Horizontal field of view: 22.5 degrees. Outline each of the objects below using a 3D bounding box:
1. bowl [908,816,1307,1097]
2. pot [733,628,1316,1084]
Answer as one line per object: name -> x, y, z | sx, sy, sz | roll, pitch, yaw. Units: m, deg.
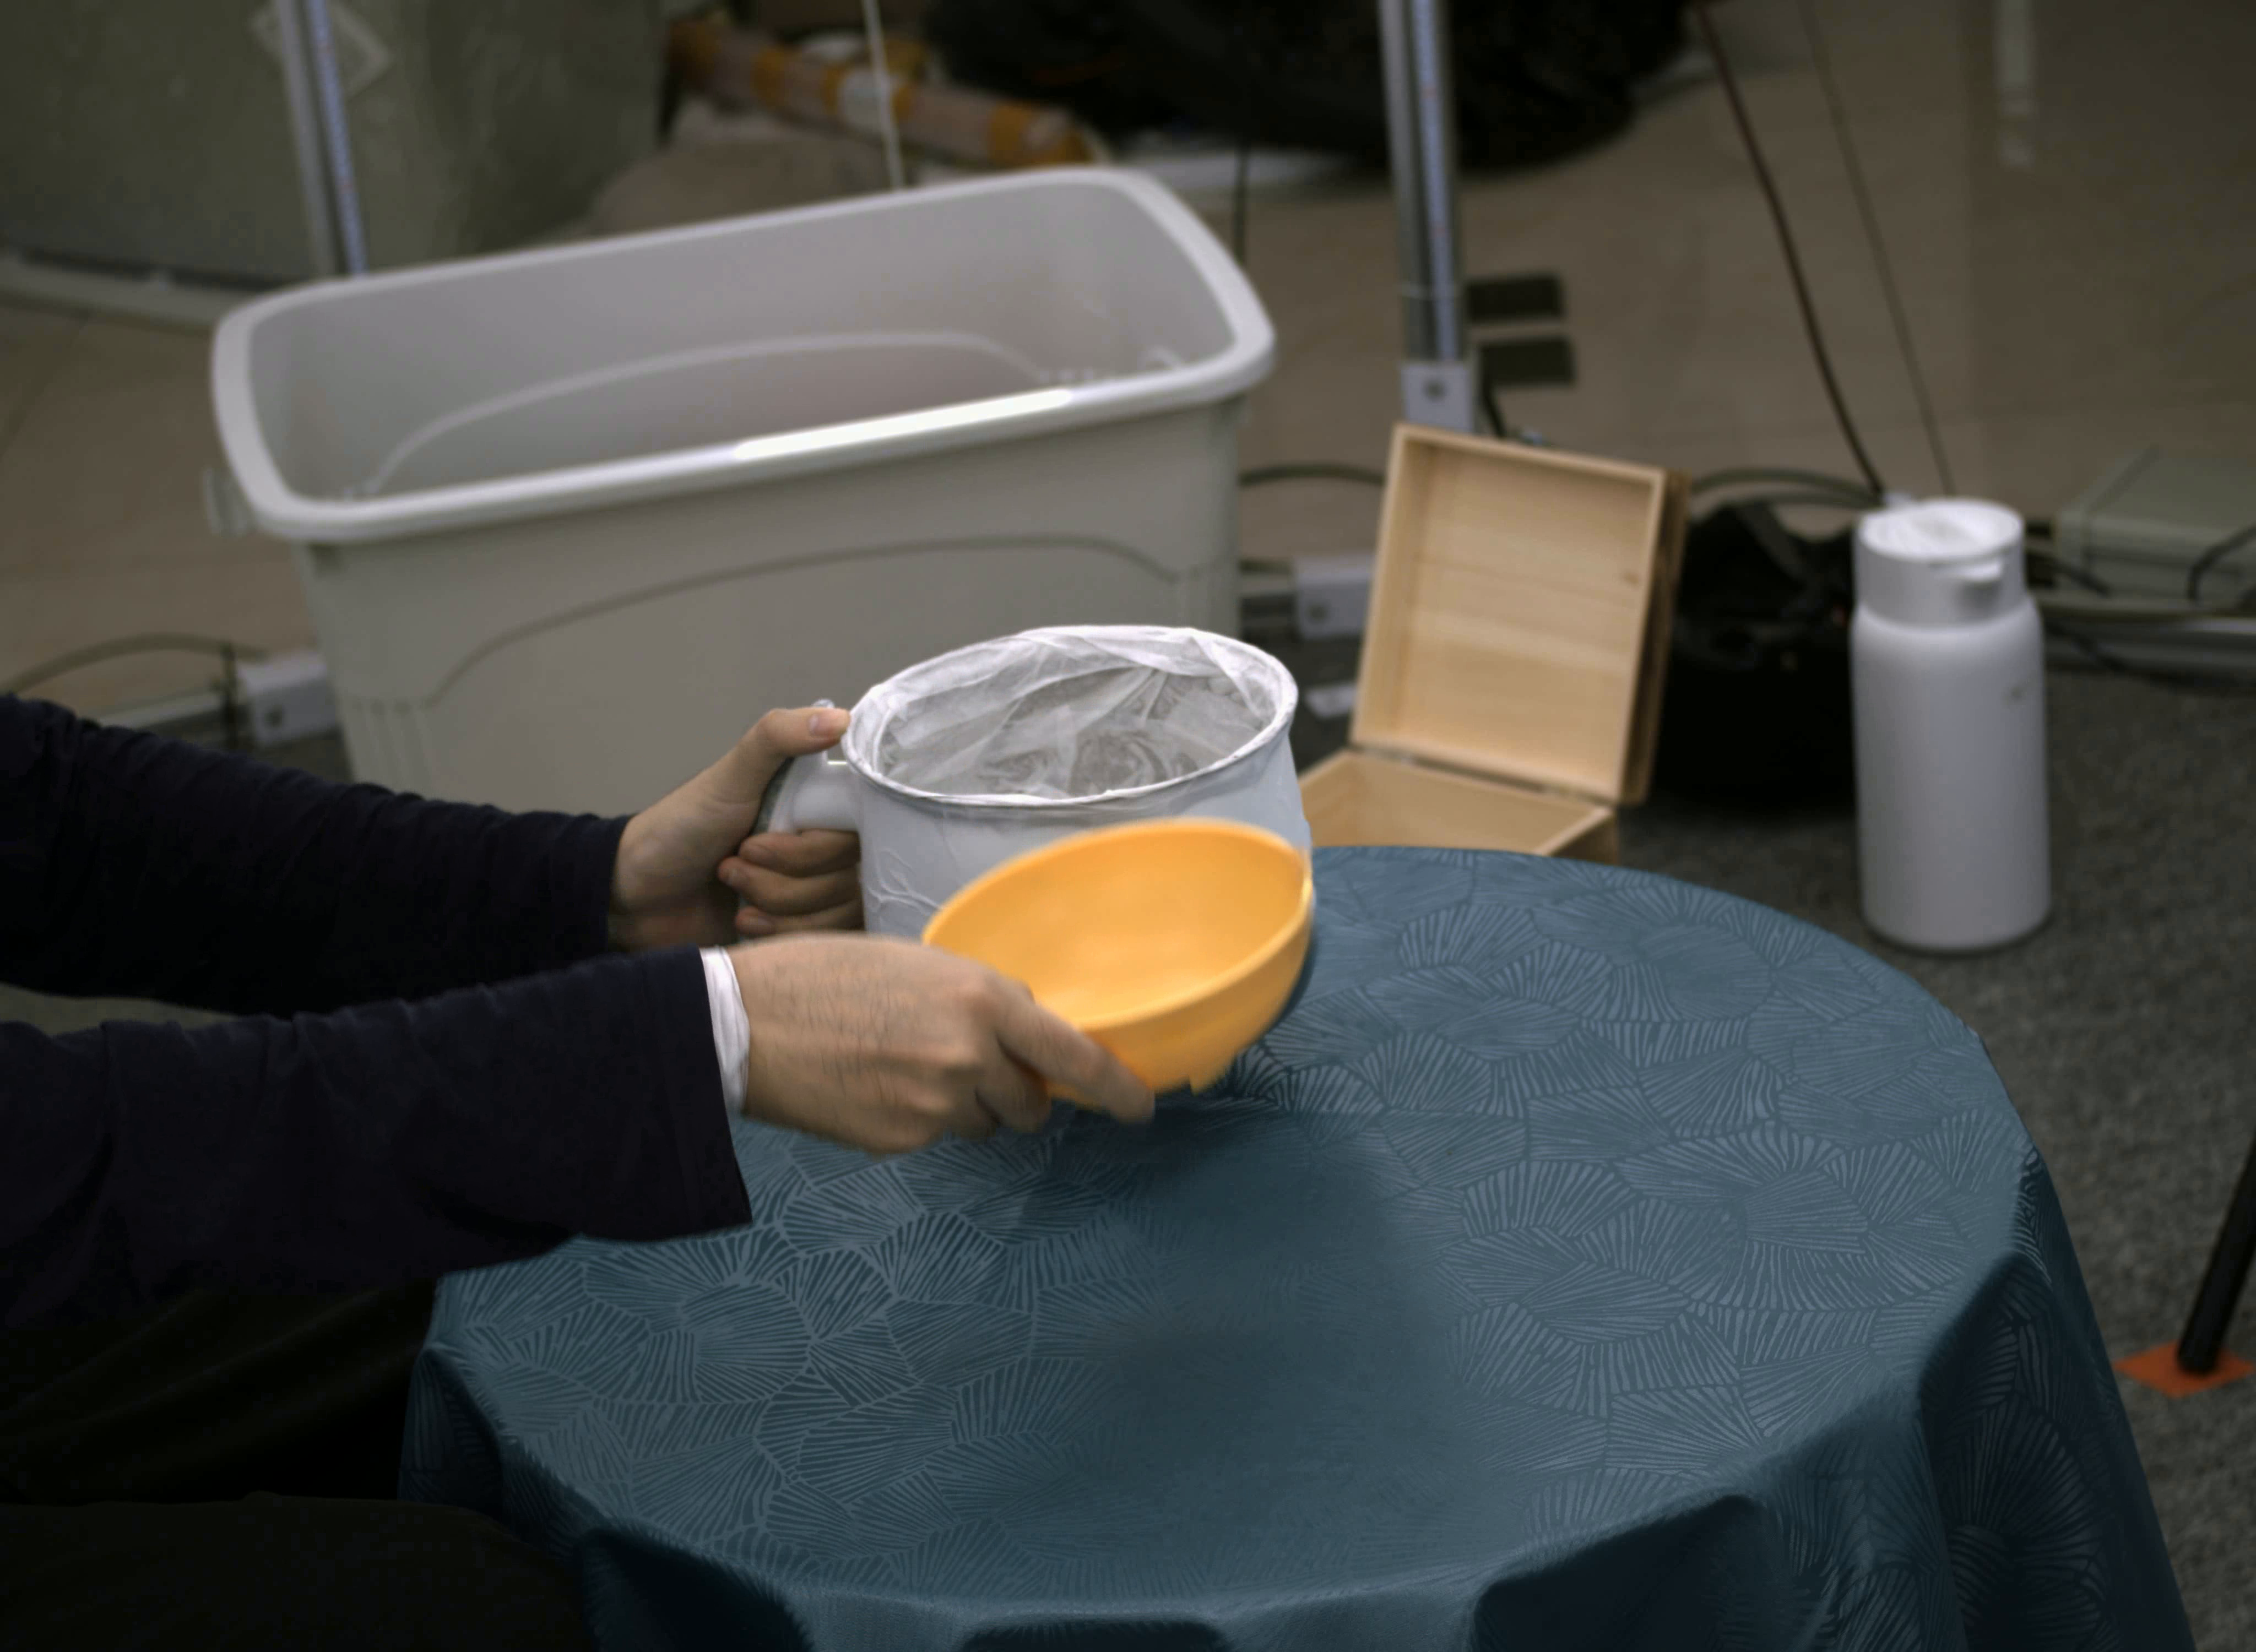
bowl -> -0.002, 0.054, 2.007 | 0.145, 0.061, 0.143 | -11, 26, 5
pot -> -0.044, 0.012, 2.206 | 0.233, 0.138, 0.176 | 1, 22, 12
